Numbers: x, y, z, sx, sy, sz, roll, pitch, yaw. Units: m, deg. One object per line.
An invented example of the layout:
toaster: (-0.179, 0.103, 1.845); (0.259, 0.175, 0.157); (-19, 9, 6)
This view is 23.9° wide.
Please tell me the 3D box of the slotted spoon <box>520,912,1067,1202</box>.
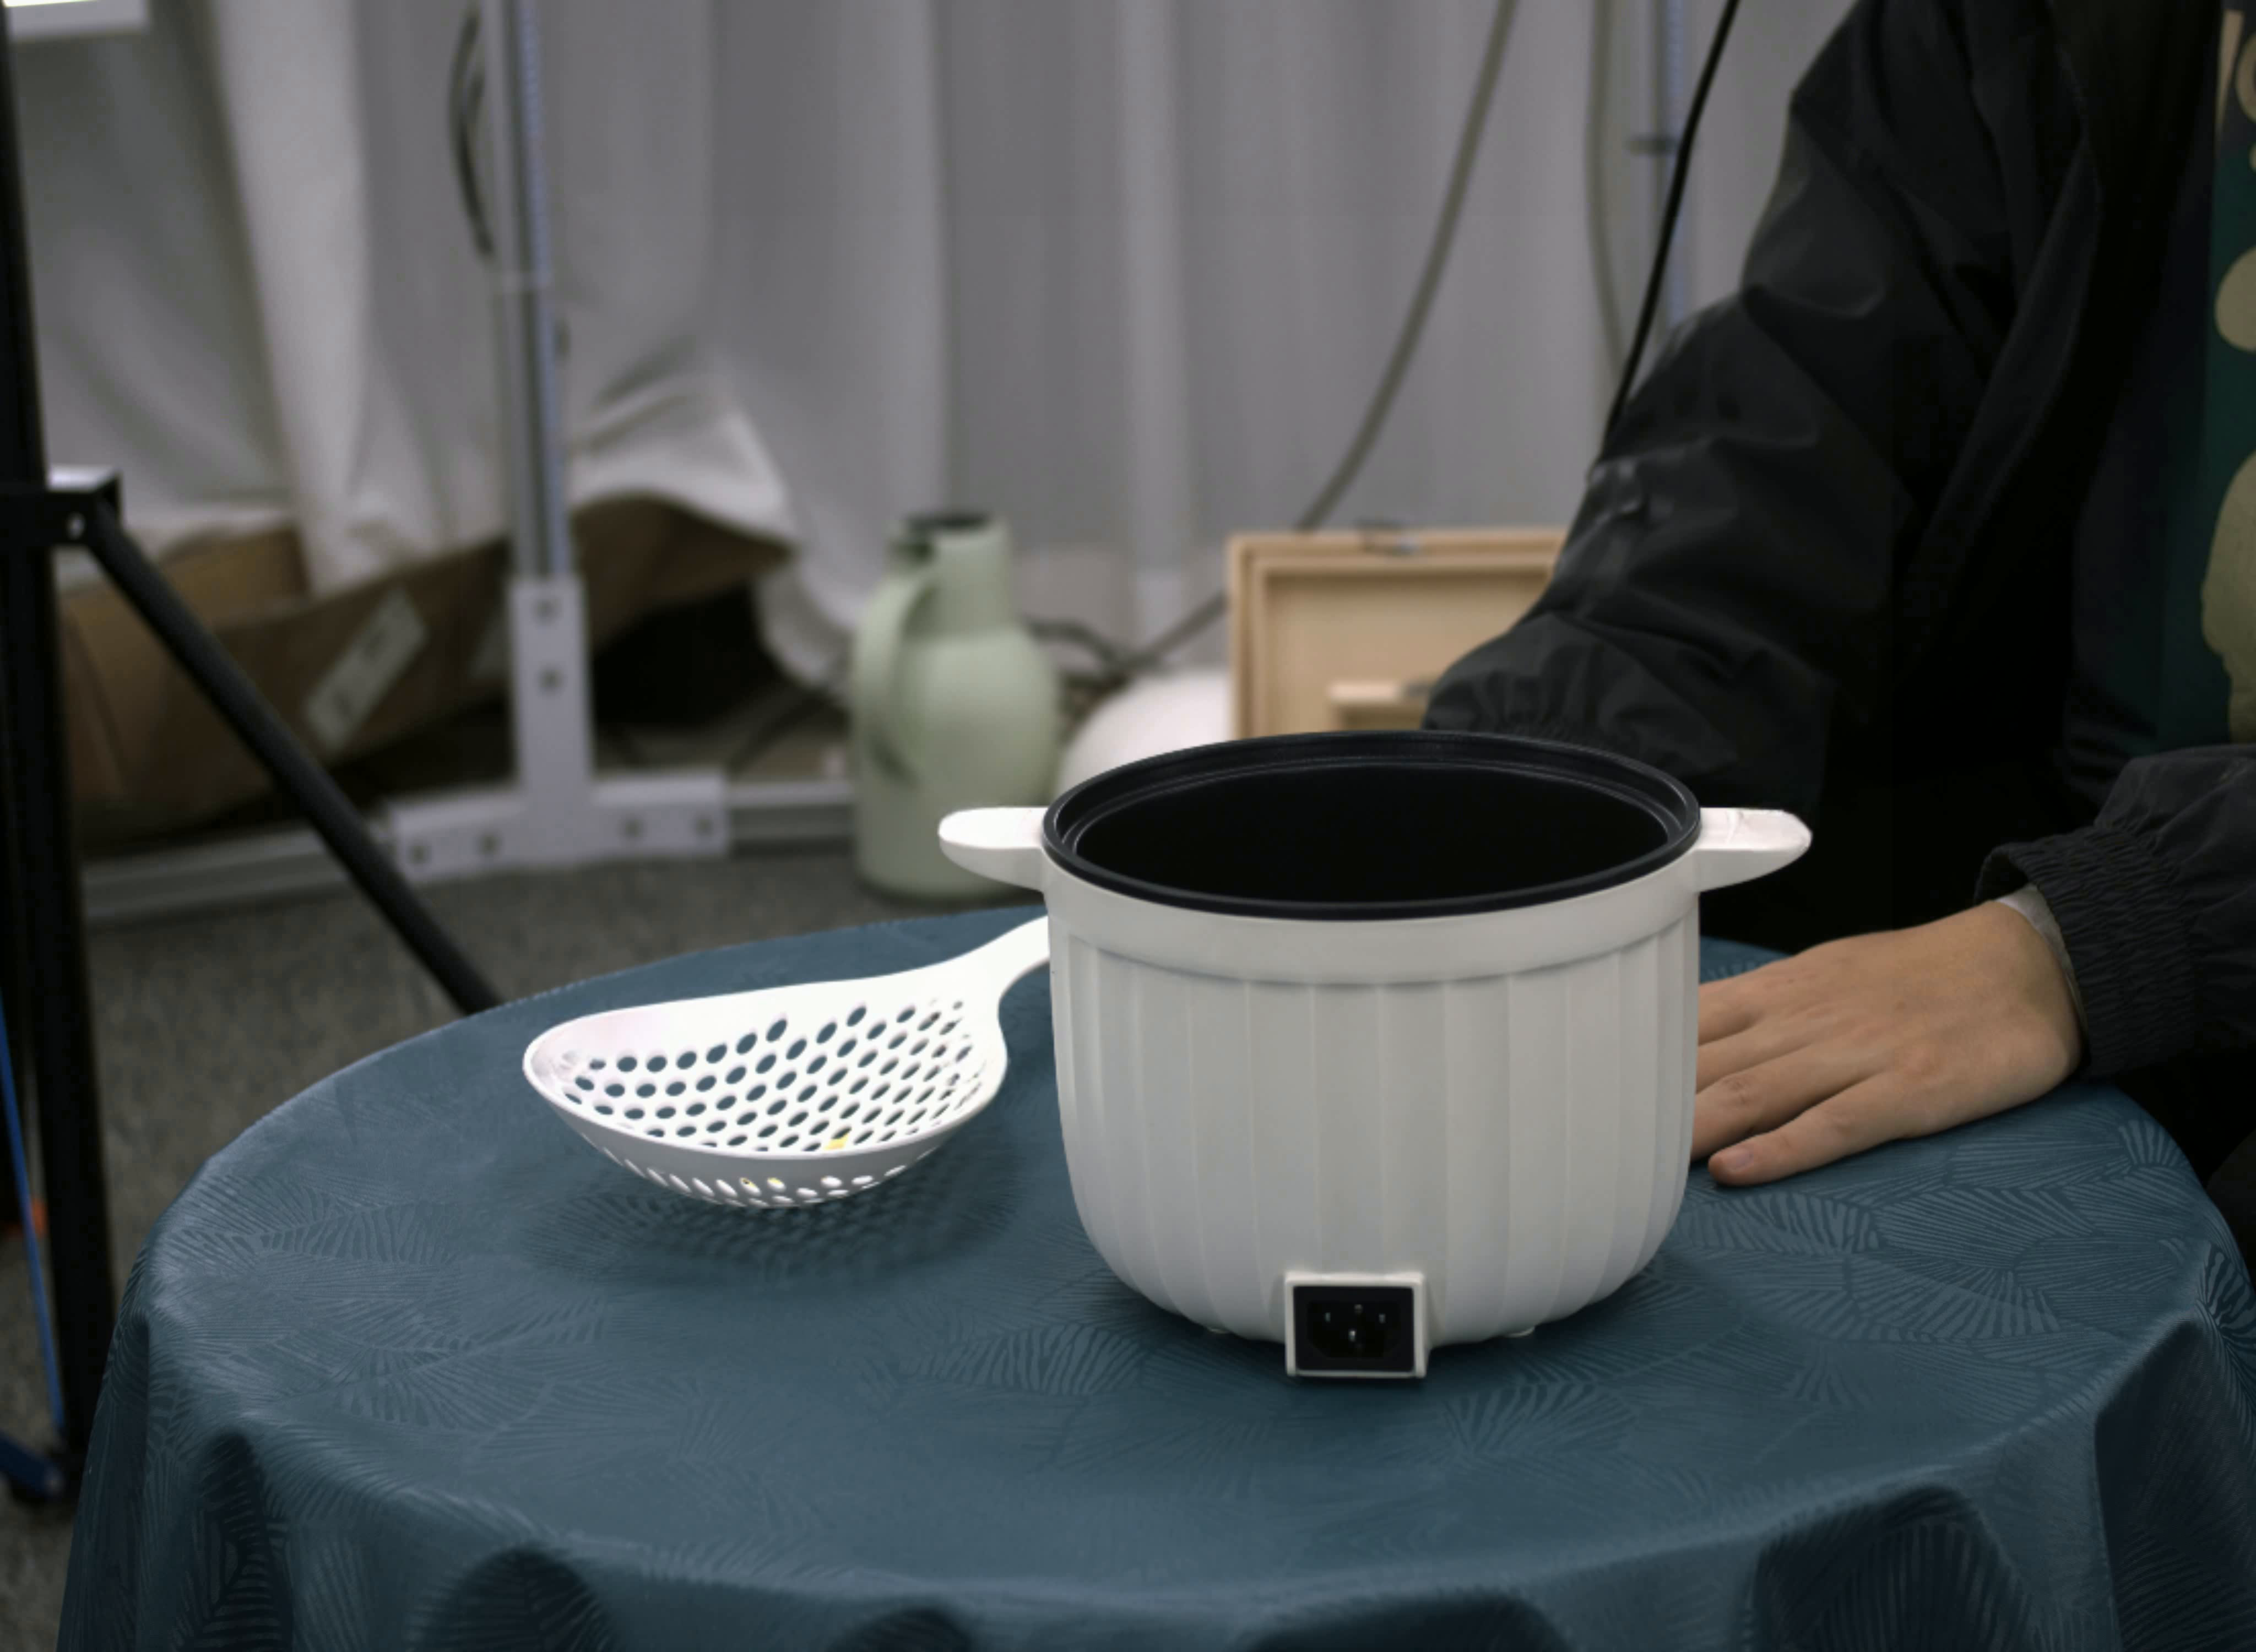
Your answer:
slotted spoon: (-0.059, 0.059, 1.661); (0.139, 0.050, 0.342); (11, 20, 26)

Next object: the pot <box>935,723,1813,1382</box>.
pot: (0.067, 0.059, 1.471); (0.241, 0.142, 0.190); (1, 19, 8)
